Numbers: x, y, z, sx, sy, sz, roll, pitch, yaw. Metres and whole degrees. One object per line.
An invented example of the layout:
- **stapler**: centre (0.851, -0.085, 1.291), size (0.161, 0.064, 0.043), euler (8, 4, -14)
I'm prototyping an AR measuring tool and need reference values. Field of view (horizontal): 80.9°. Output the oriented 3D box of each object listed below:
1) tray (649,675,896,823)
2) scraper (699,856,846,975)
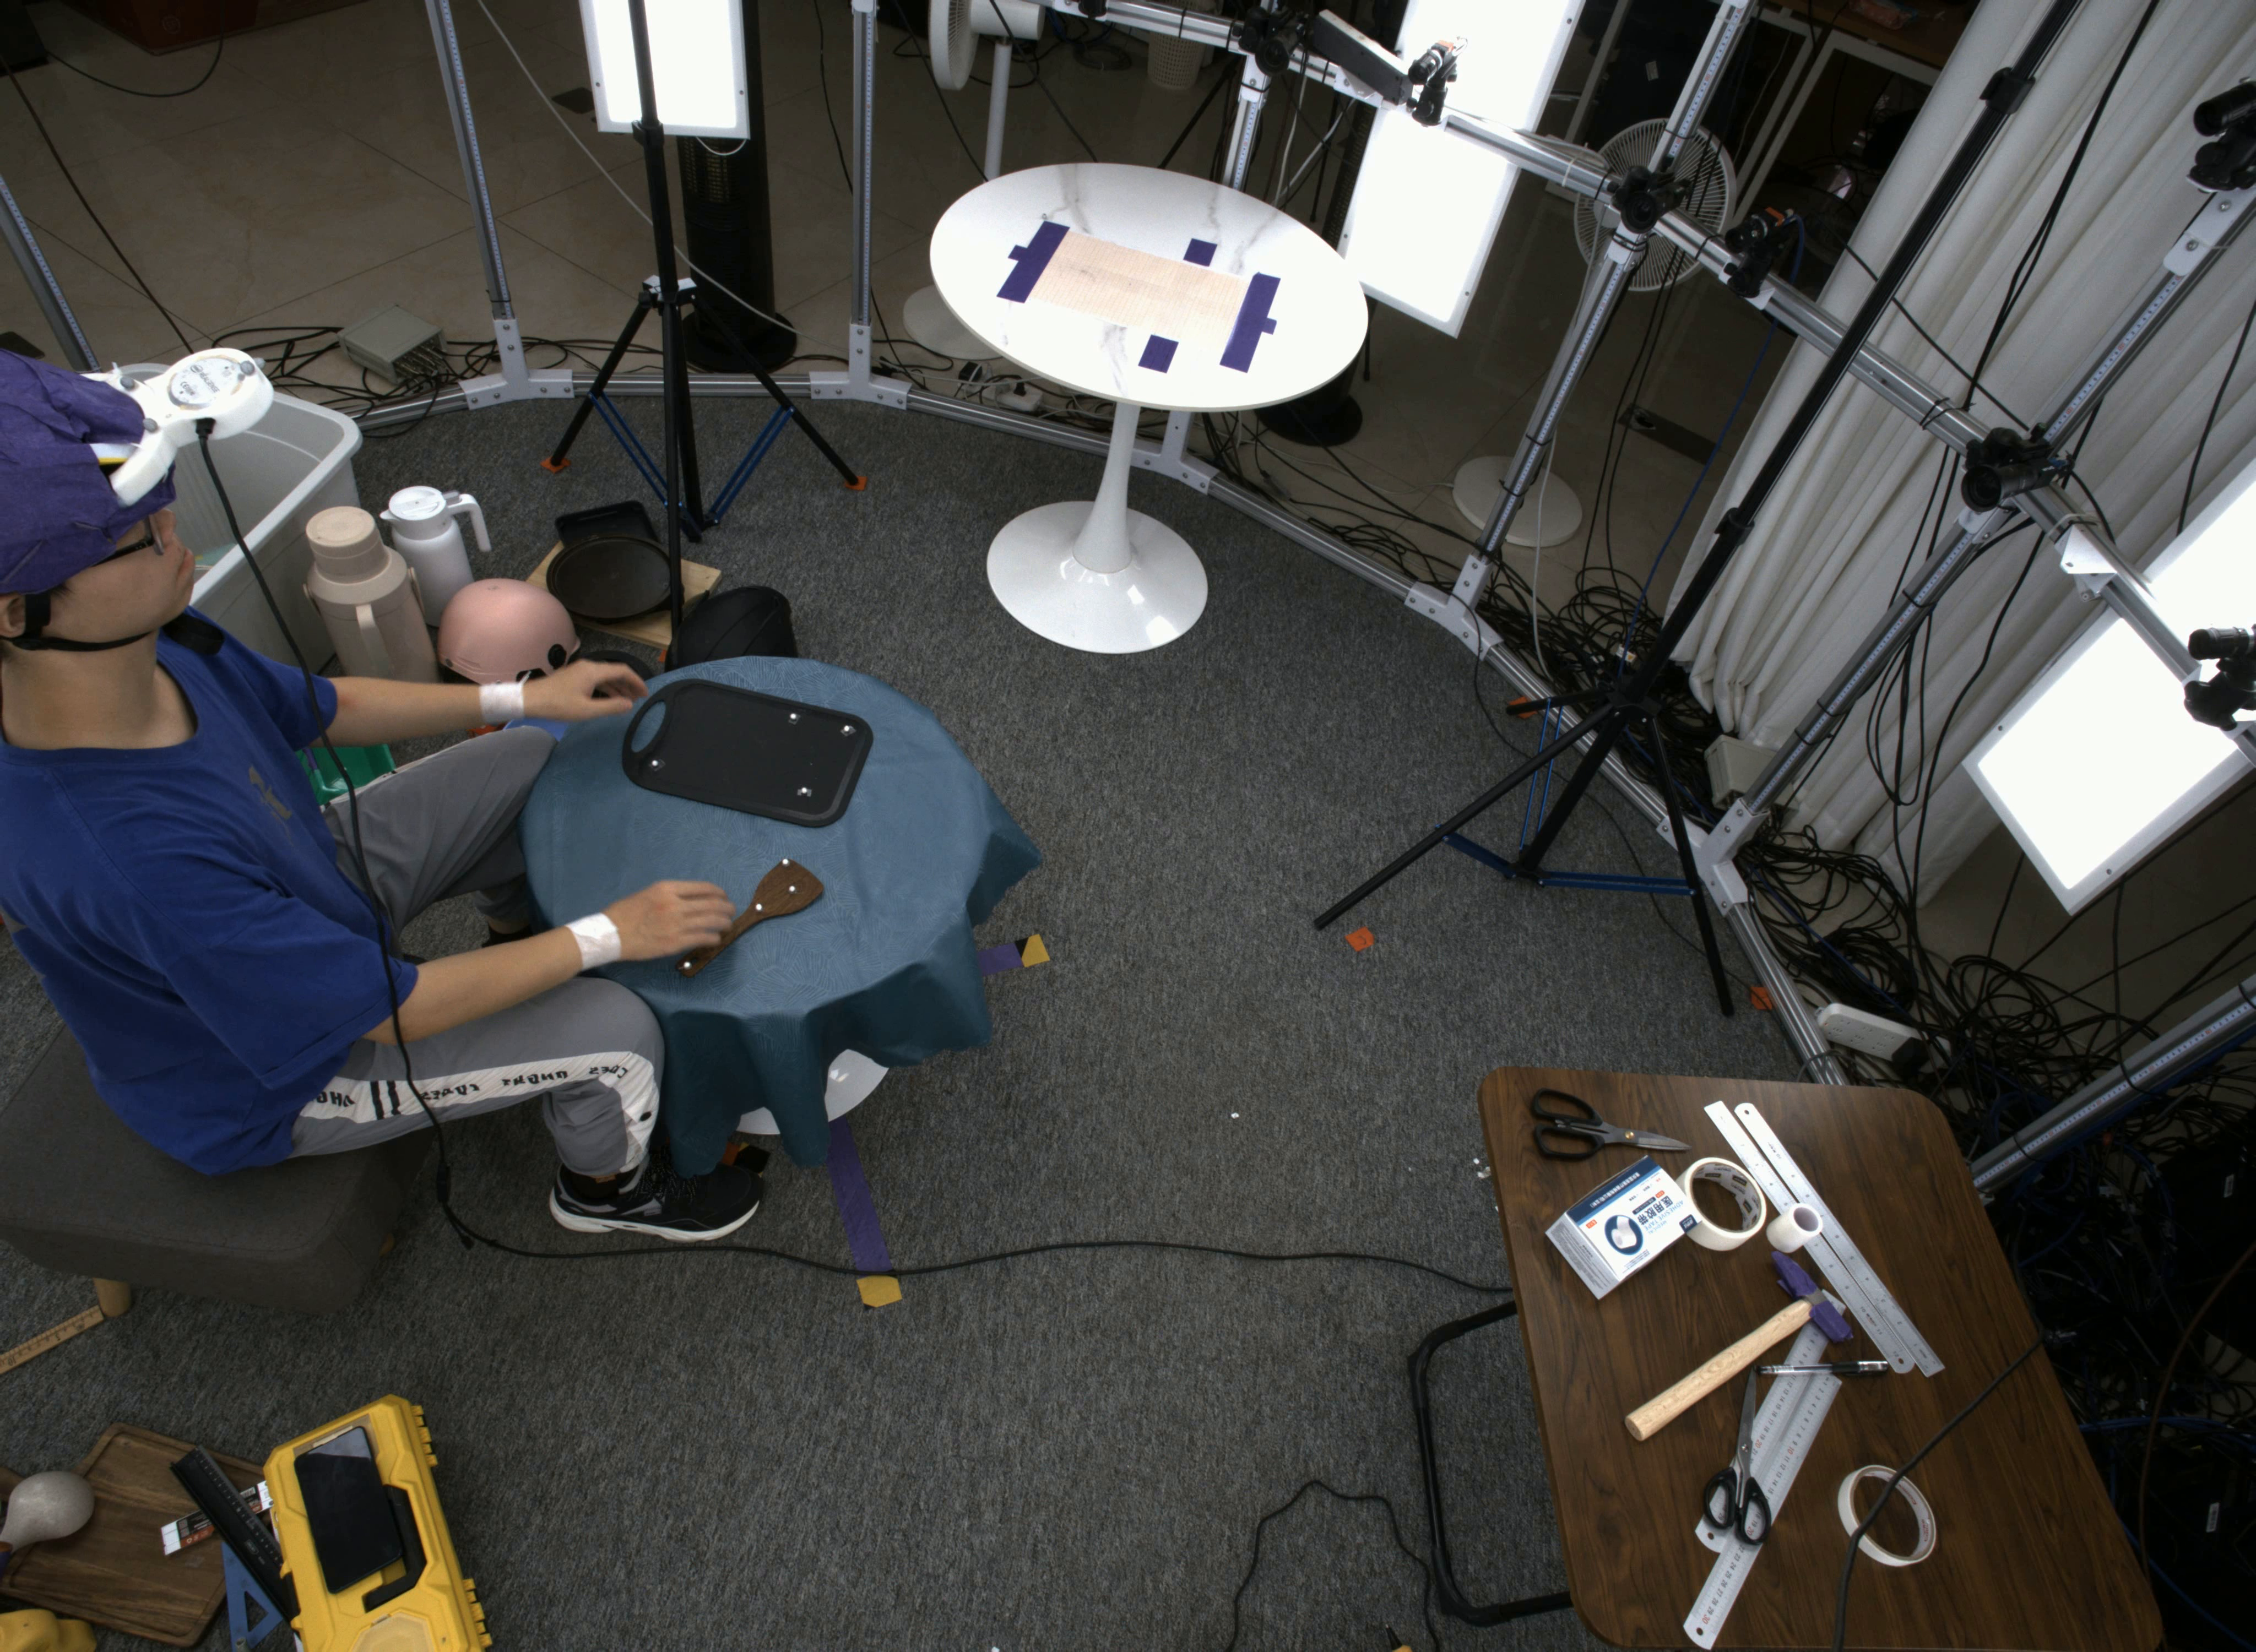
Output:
- **tray**: centre (-0.498, -0.113, 1.794), size (0.323, 0.010, 0.208), euler (15, 52, -3)
- **scraper**: centre (-0.453, 0.115, 1.636), size (0.074, 0.011, 0.211), euler (38, 55, 15)
